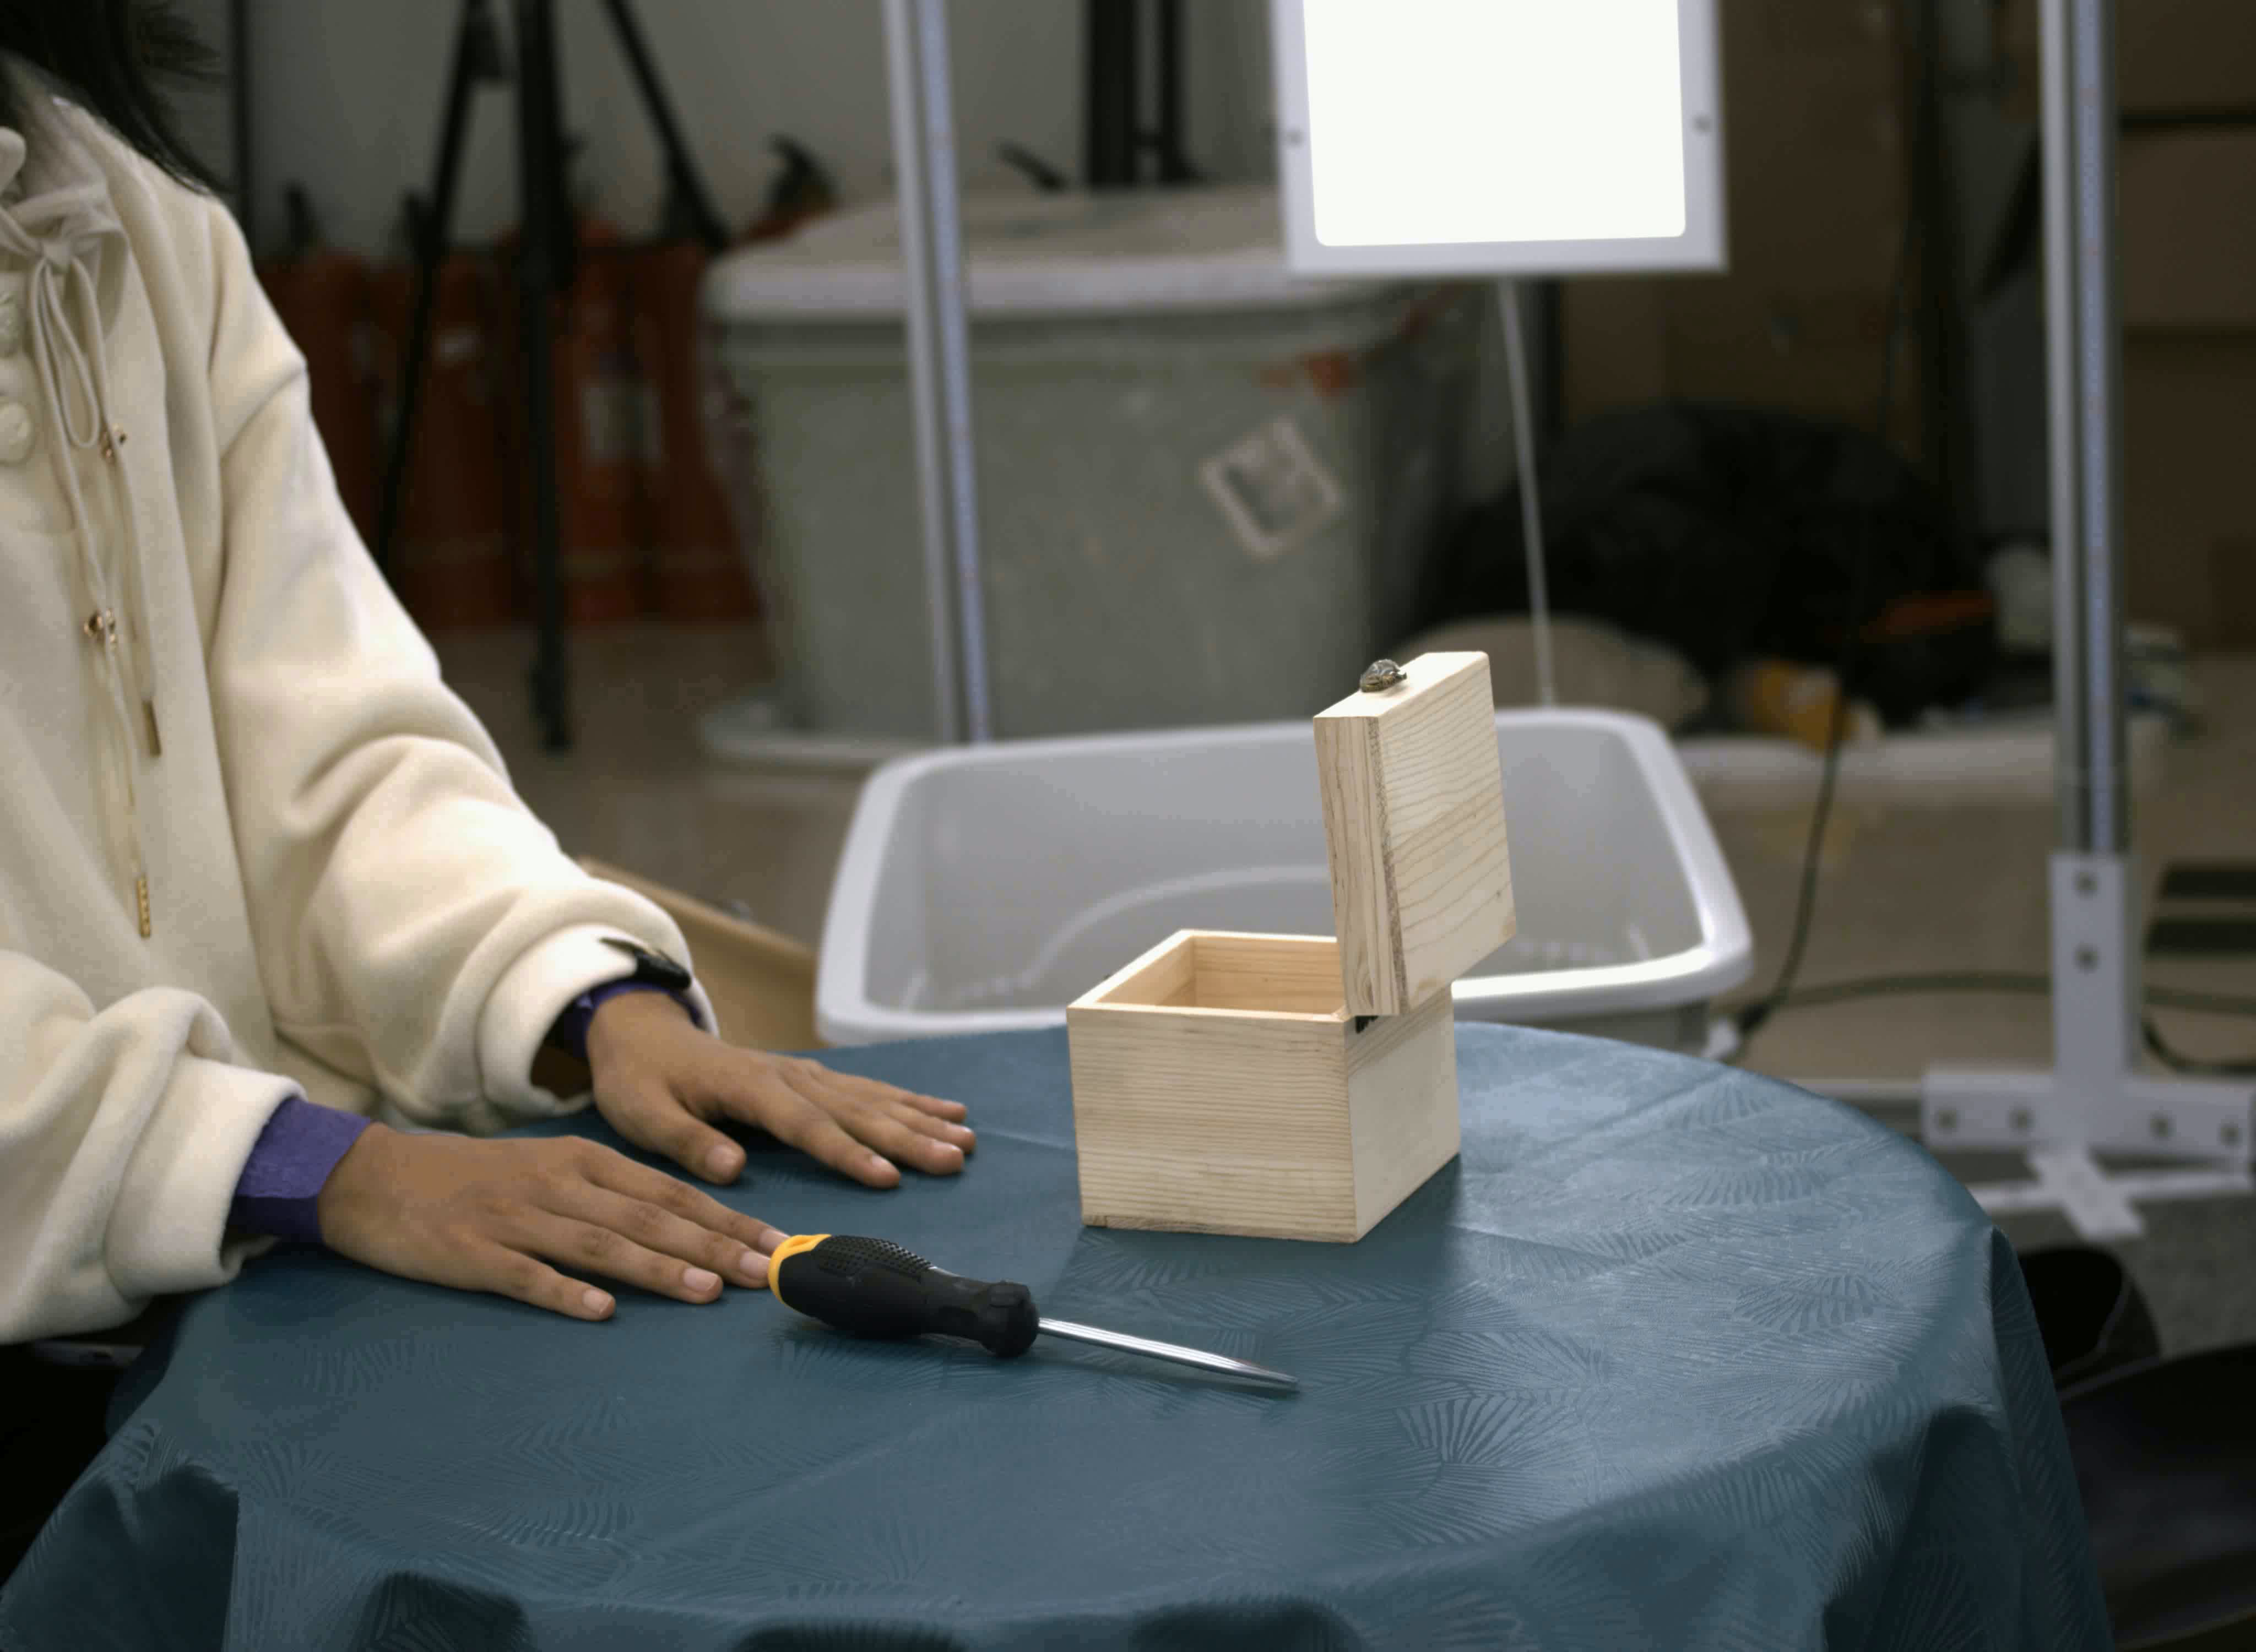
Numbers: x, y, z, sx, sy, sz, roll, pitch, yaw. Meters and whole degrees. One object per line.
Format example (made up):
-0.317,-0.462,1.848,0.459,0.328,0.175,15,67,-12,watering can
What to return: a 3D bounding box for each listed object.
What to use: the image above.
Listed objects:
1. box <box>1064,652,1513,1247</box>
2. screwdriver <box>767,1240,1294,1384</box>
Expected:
0.052,0.037,1.860,0.136,0.185,0.100,4,17,26,box
-0.034,0.157,1.738,0.202,0.031,0.031,9,18,37,screwdriver
